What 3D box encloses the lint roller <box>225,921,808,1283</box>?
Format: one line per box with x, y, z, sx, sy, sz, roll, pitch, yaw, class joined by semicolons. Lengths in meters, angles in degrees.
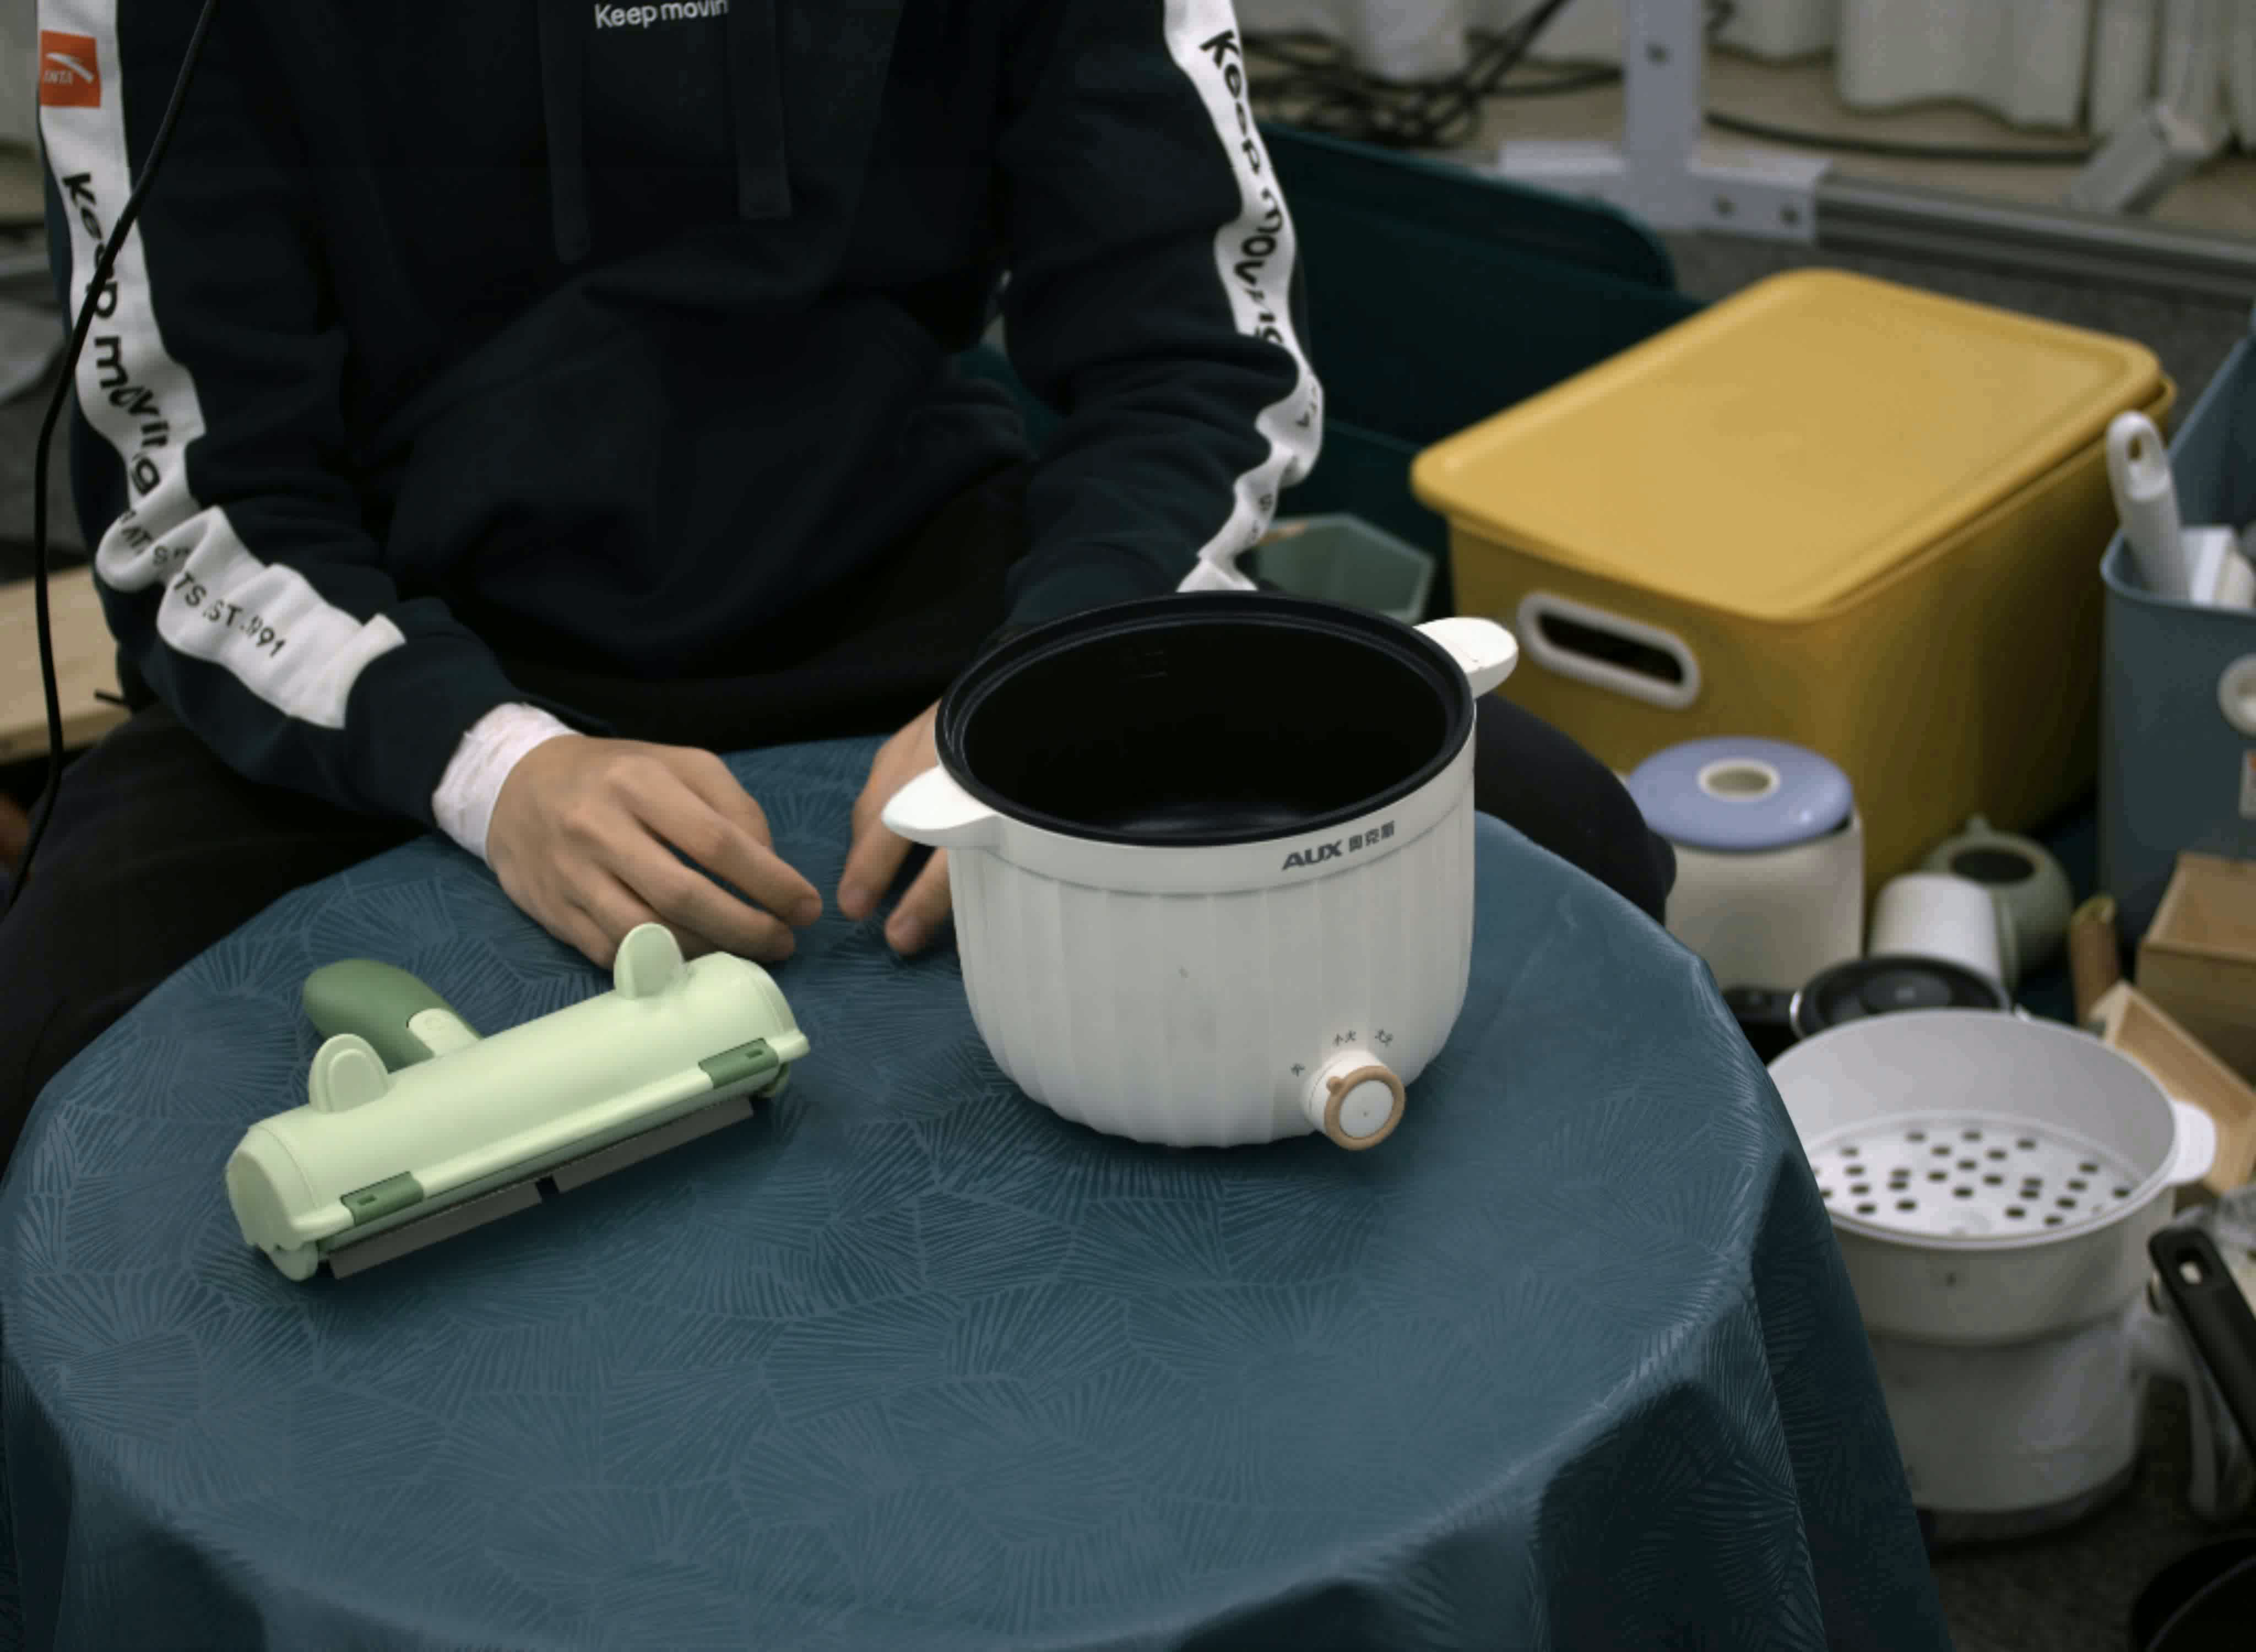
-0.235;0.067;1.909;0.200;0.081;0.184;-20;37;-29;lint roller

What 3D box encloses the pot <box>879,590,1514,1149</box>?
0.033;0.021;1.903;0.242;0.141;0.191;-18;27;-24;pot
